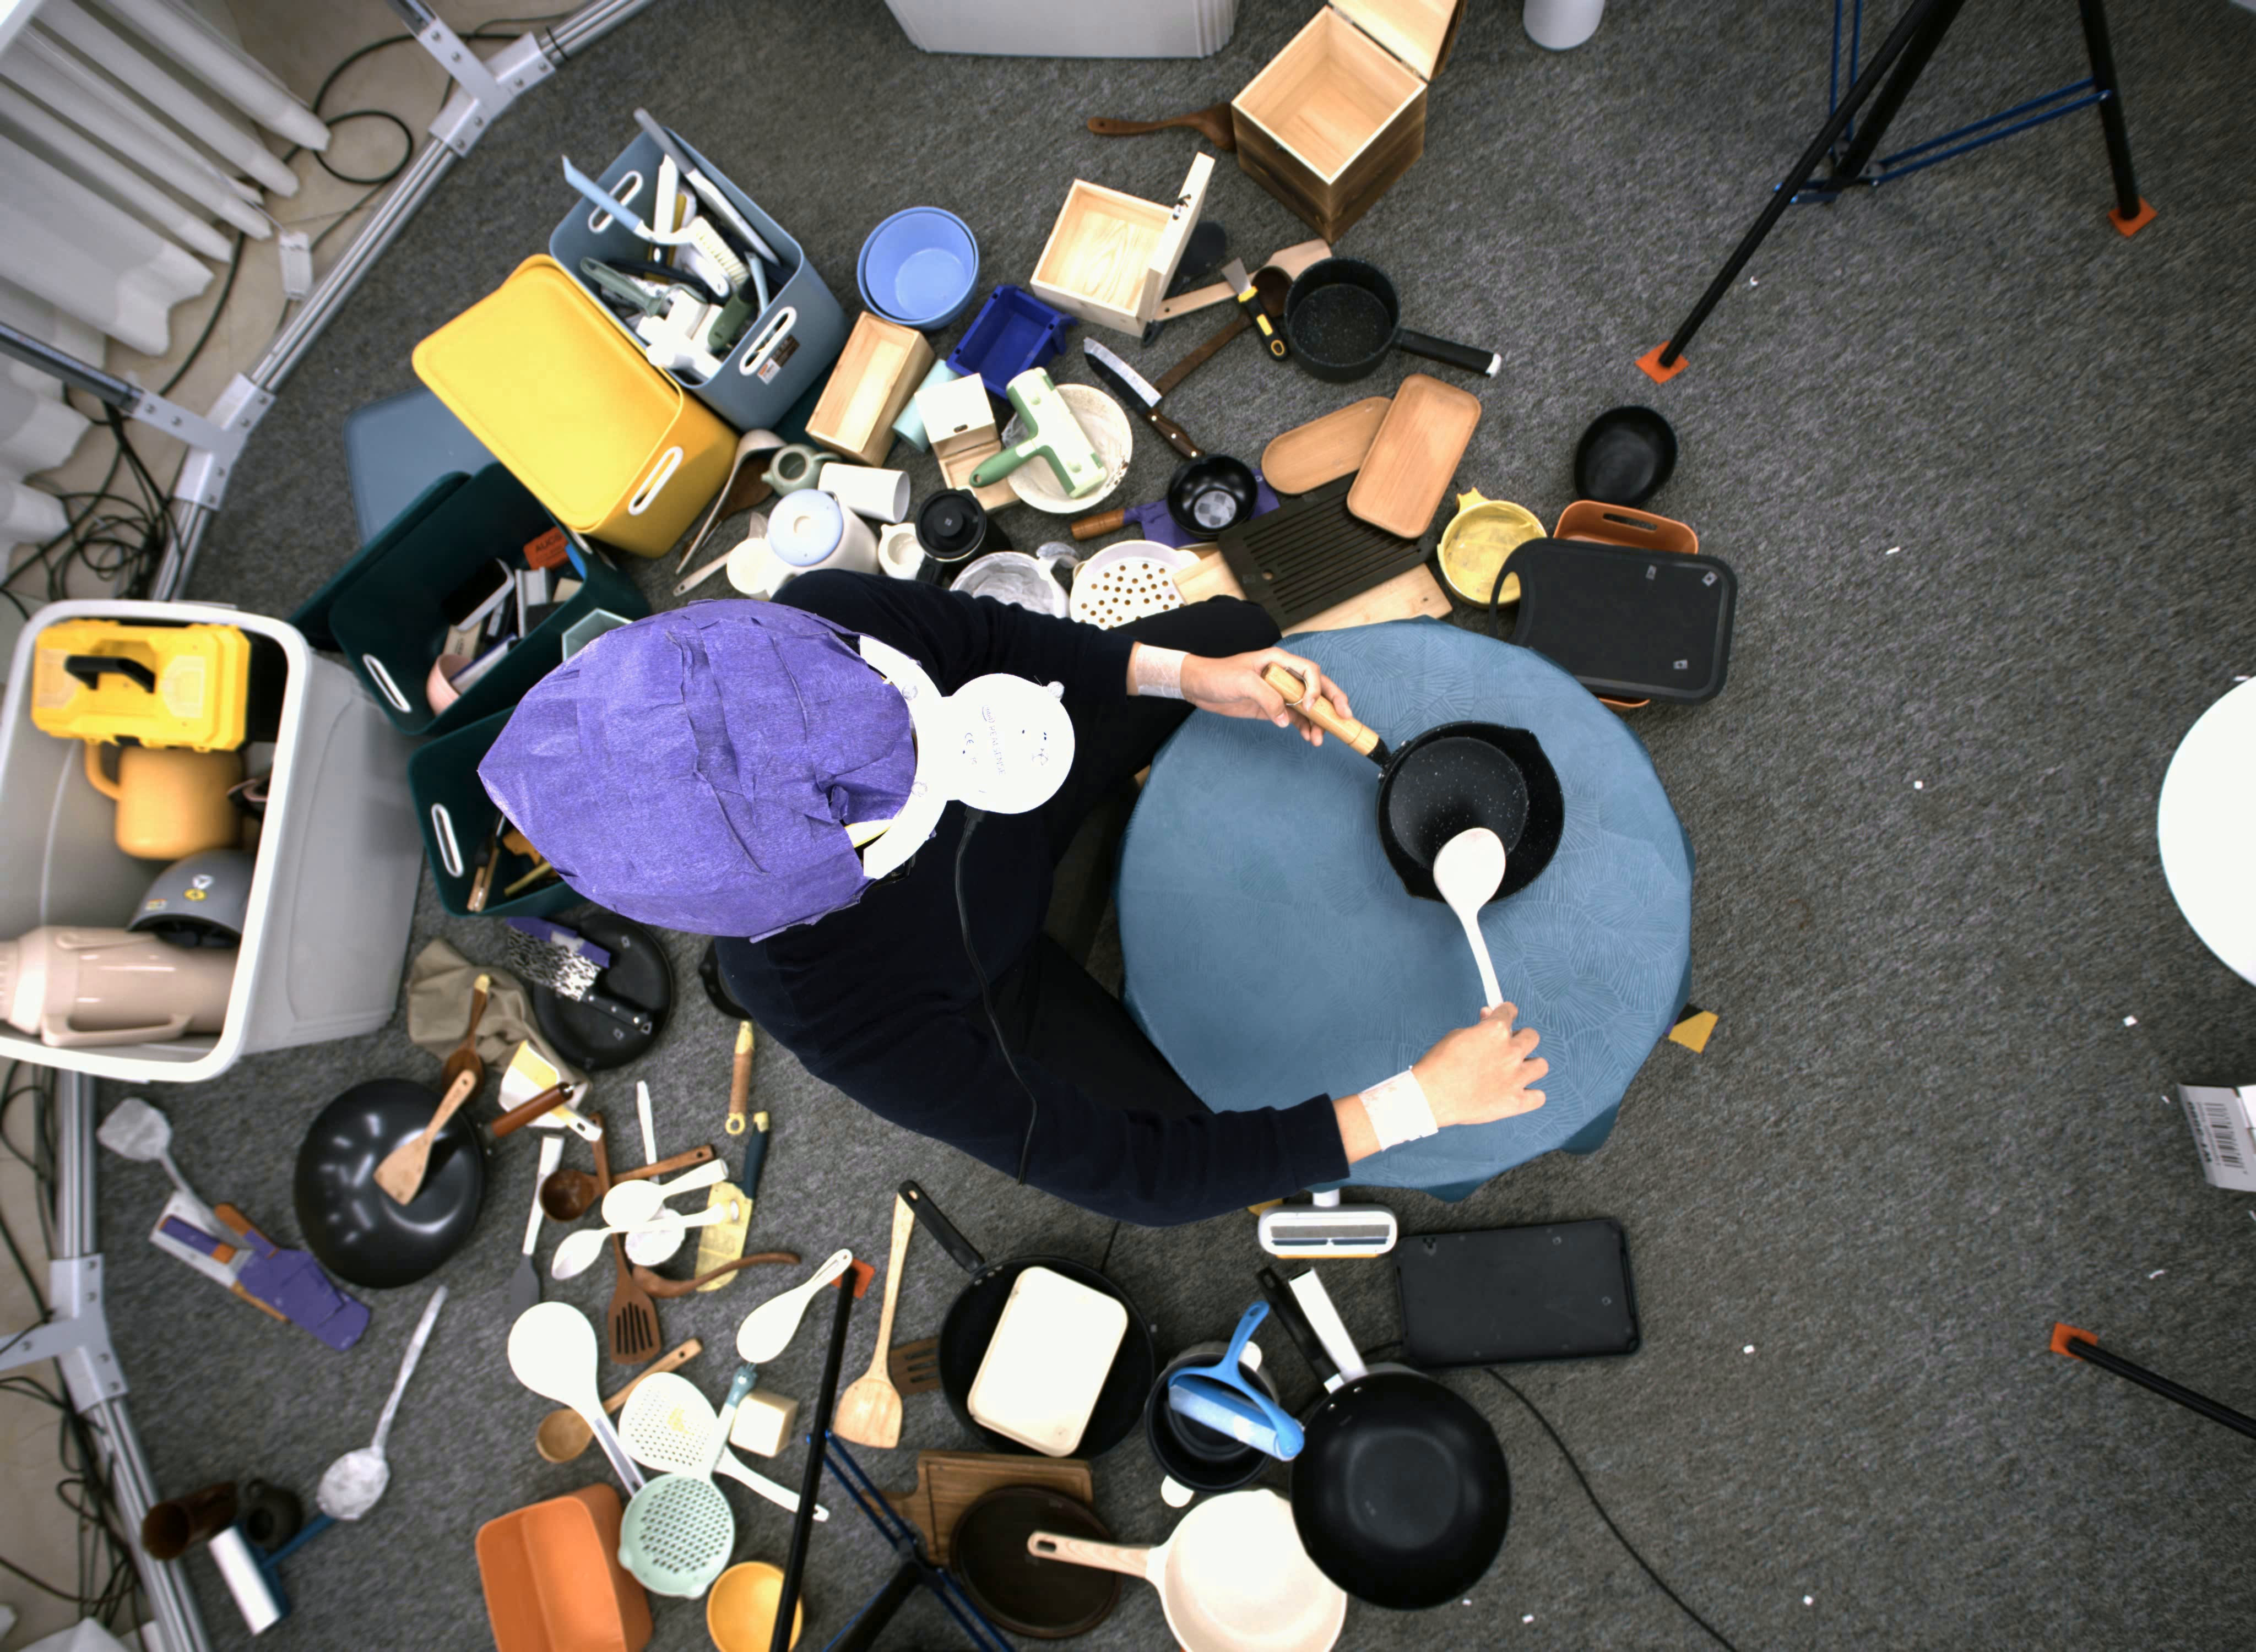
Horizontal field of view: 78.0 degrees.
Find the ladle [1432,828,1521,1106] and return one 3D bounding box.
[{"bbox_3d":[0.349,0.124,1.290,0.071,0.090,0.268,-38,44,33],"label":"ladle"}]

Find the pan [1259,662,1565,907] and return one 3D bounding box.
[{"bbox_3d":[0.273,-0.060,1.381,0.343,0.107,0.209,33,101,-2],"label":"pan"}]
